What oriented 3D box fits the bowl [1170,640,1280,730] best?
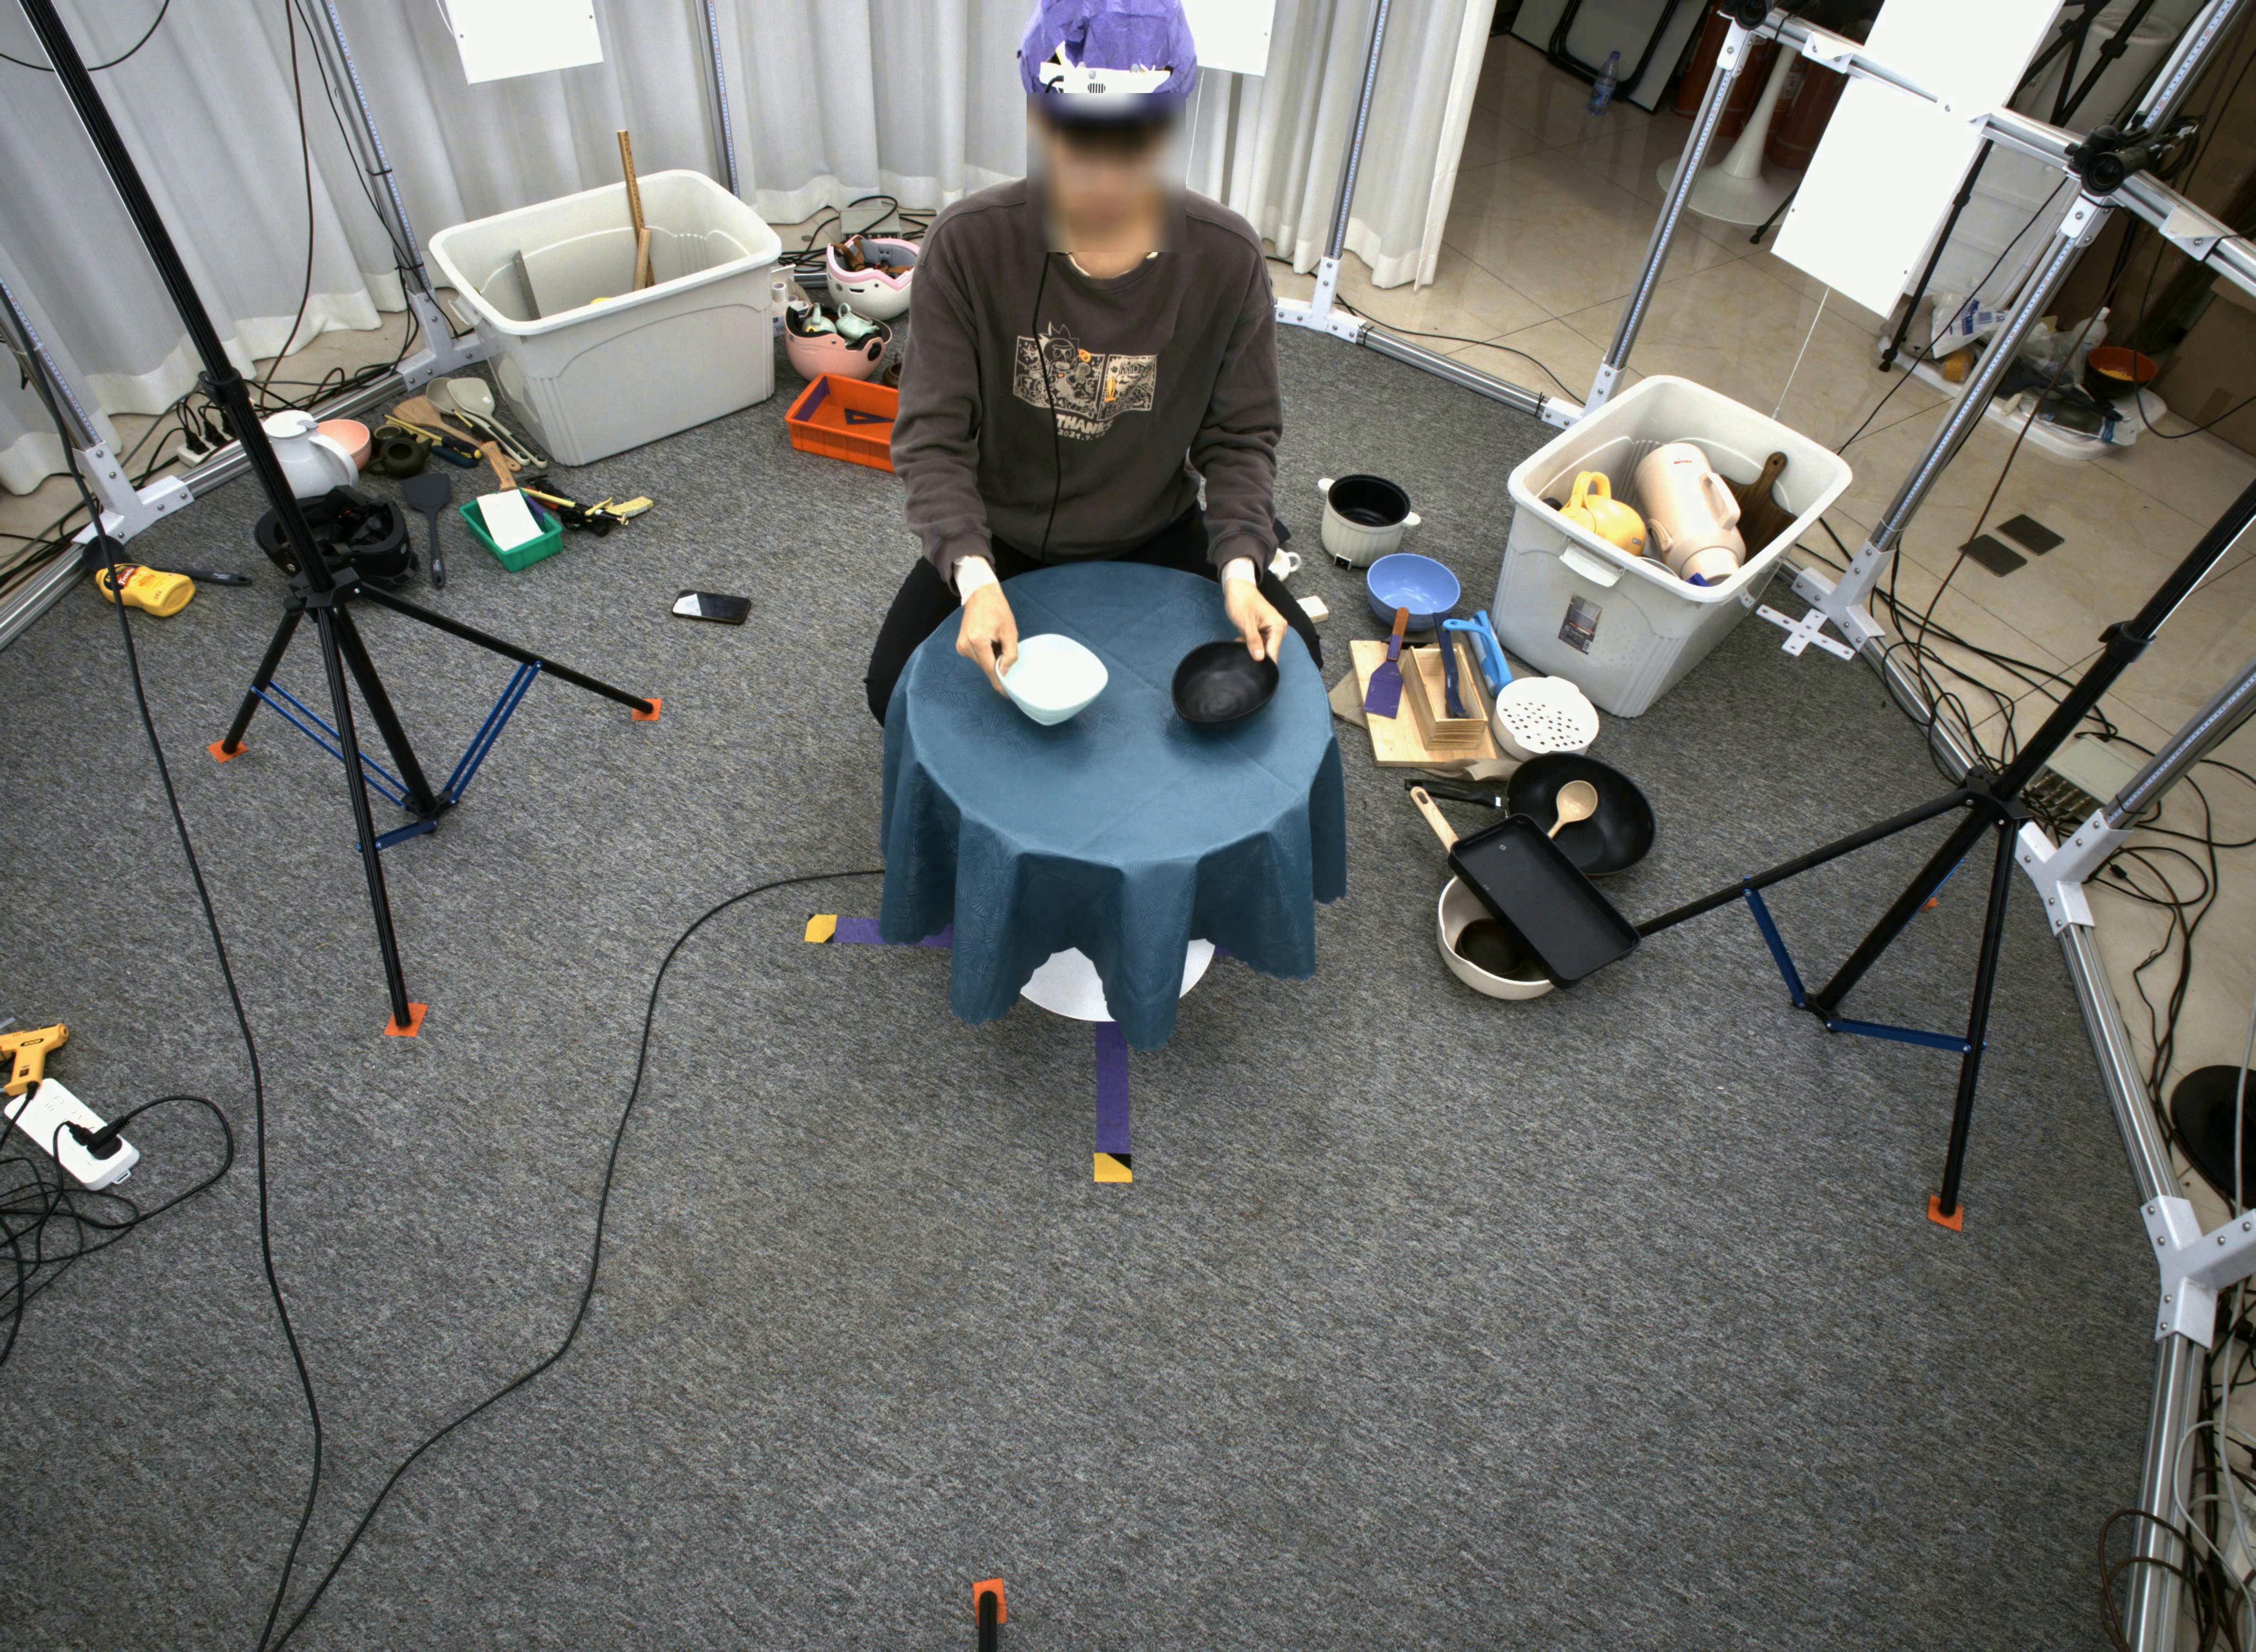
[{"bbox_3d":[0.134,-0.185,1.793,0.139,0.065,0.172,34,58,24],"label":"bowl"}]

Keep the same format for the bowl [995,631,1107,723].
[{"bbox_3d":[-0.107,-0.195,1.748,0.151,0.057,0.155,5,48,-6],"label":"bowl"}]
